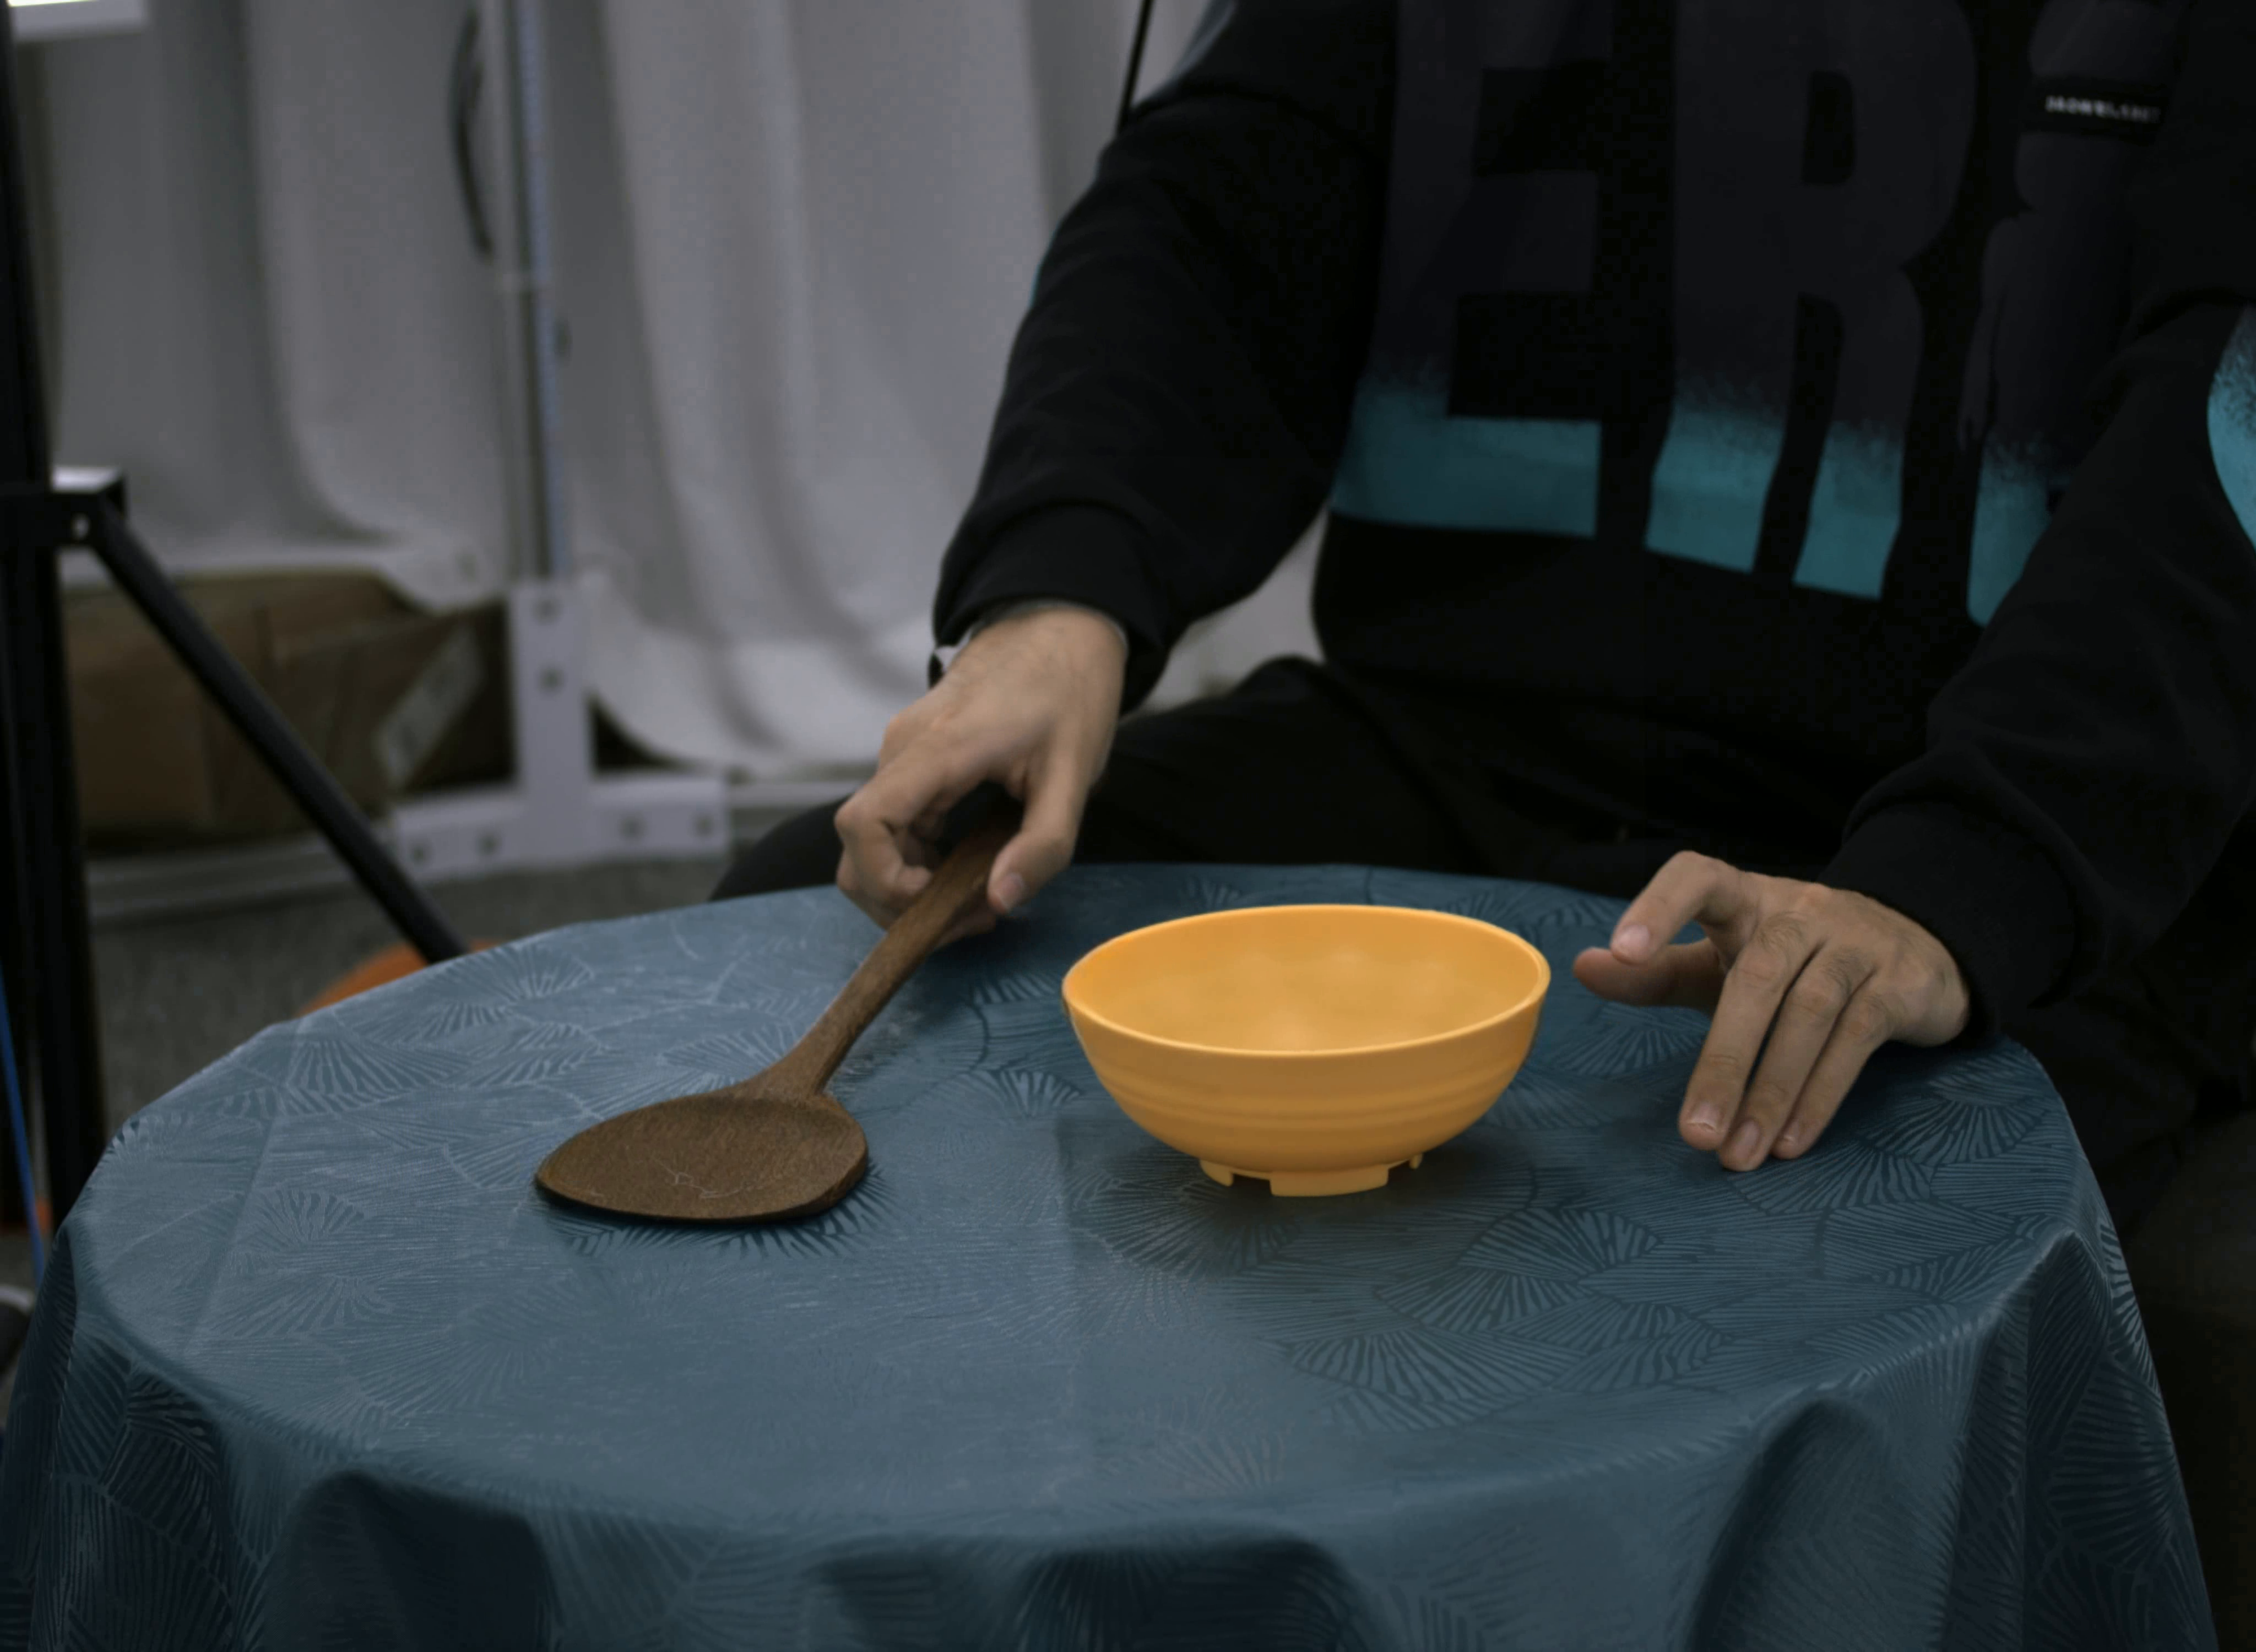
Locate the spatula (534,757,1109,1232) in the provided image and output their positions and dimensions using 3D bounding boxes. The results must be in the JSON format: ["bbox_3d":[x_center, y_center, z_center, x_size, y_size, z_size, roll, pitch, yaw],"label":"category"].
[{"bbox_3d":[-0.077,0.047,1.716,0.097,0.016,0.382,4,23,19],"label":"spatula"}]

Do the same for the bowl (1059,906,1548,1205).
[{"bbox_3d":[0.051,0.074,1.571,0.144,0.060,0.146,0,16,-1],"label":"bowl"}]
